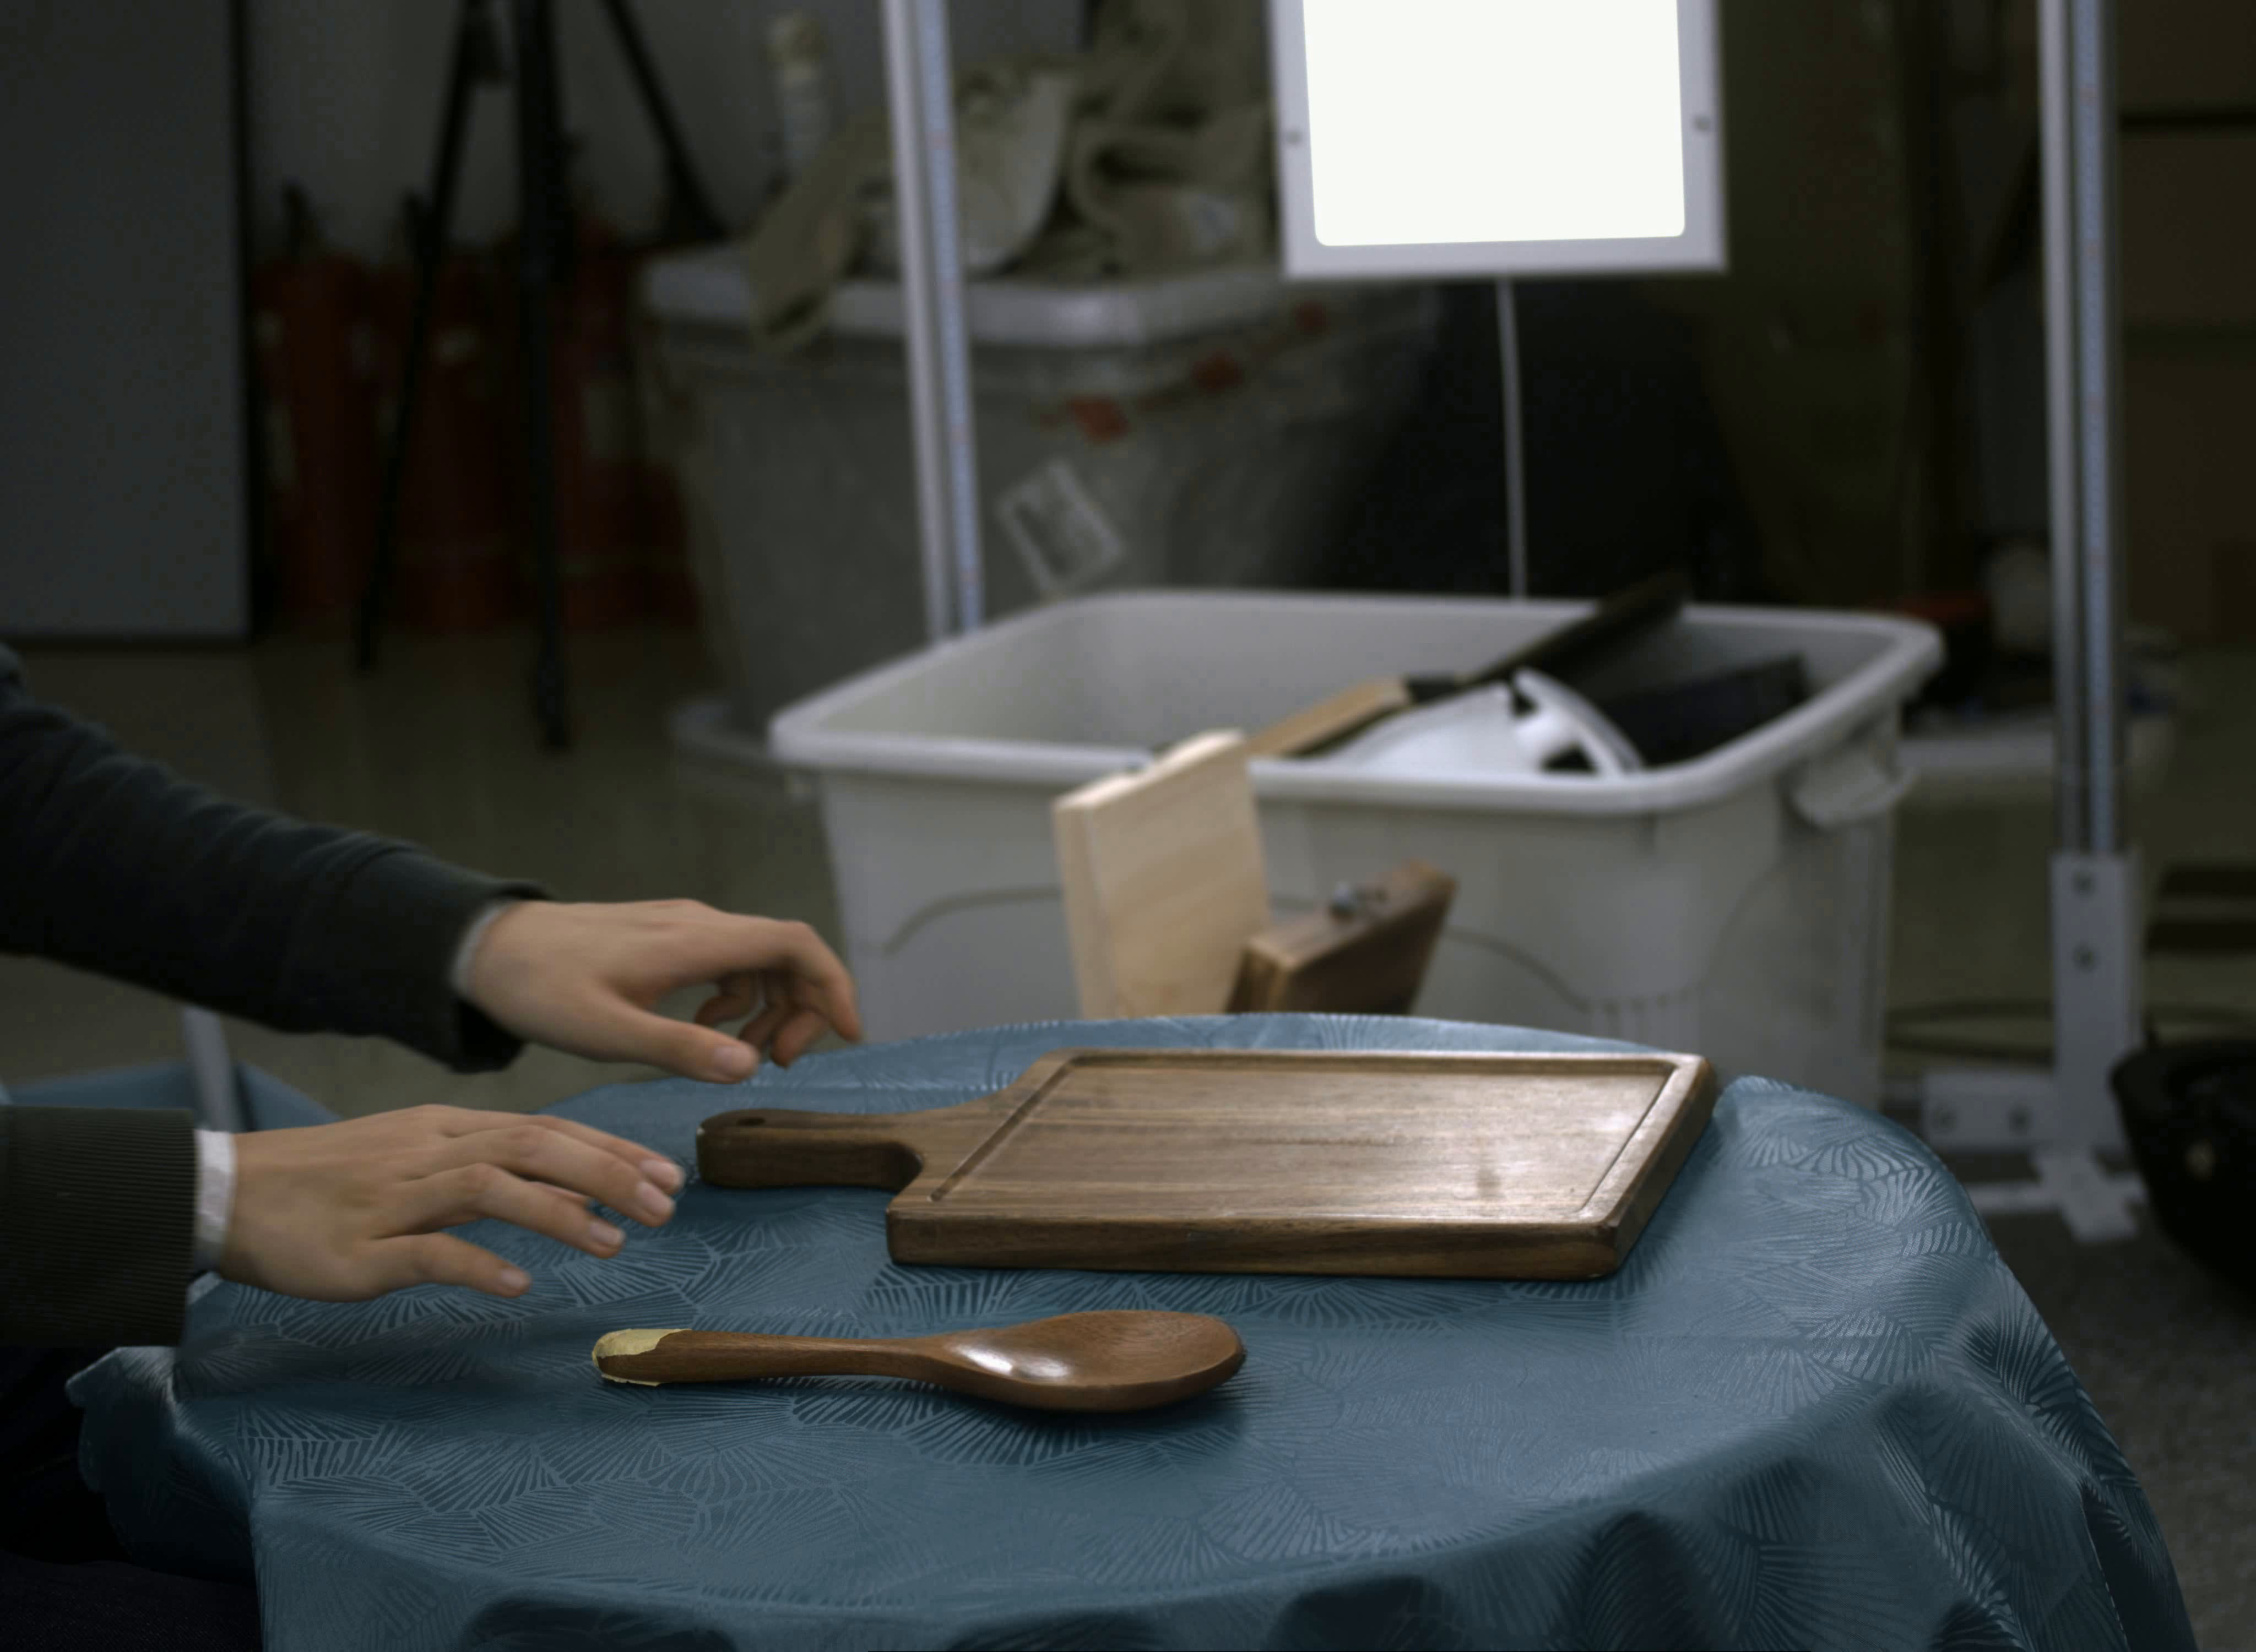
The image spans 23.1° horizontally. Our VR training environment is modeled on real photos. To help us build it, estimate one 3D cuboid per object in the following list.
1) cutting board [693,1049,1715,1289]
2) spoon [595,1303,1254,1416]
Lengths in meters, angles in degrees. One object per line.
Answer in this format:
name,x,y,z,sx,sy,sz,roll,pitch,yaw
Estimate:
cutting board,0.016,0.115,1.903,0.356,0.023,0.198,0,15,19
spoon,-0.065,0.166,1.721,0.218,0.017,0.074,1,16,19
